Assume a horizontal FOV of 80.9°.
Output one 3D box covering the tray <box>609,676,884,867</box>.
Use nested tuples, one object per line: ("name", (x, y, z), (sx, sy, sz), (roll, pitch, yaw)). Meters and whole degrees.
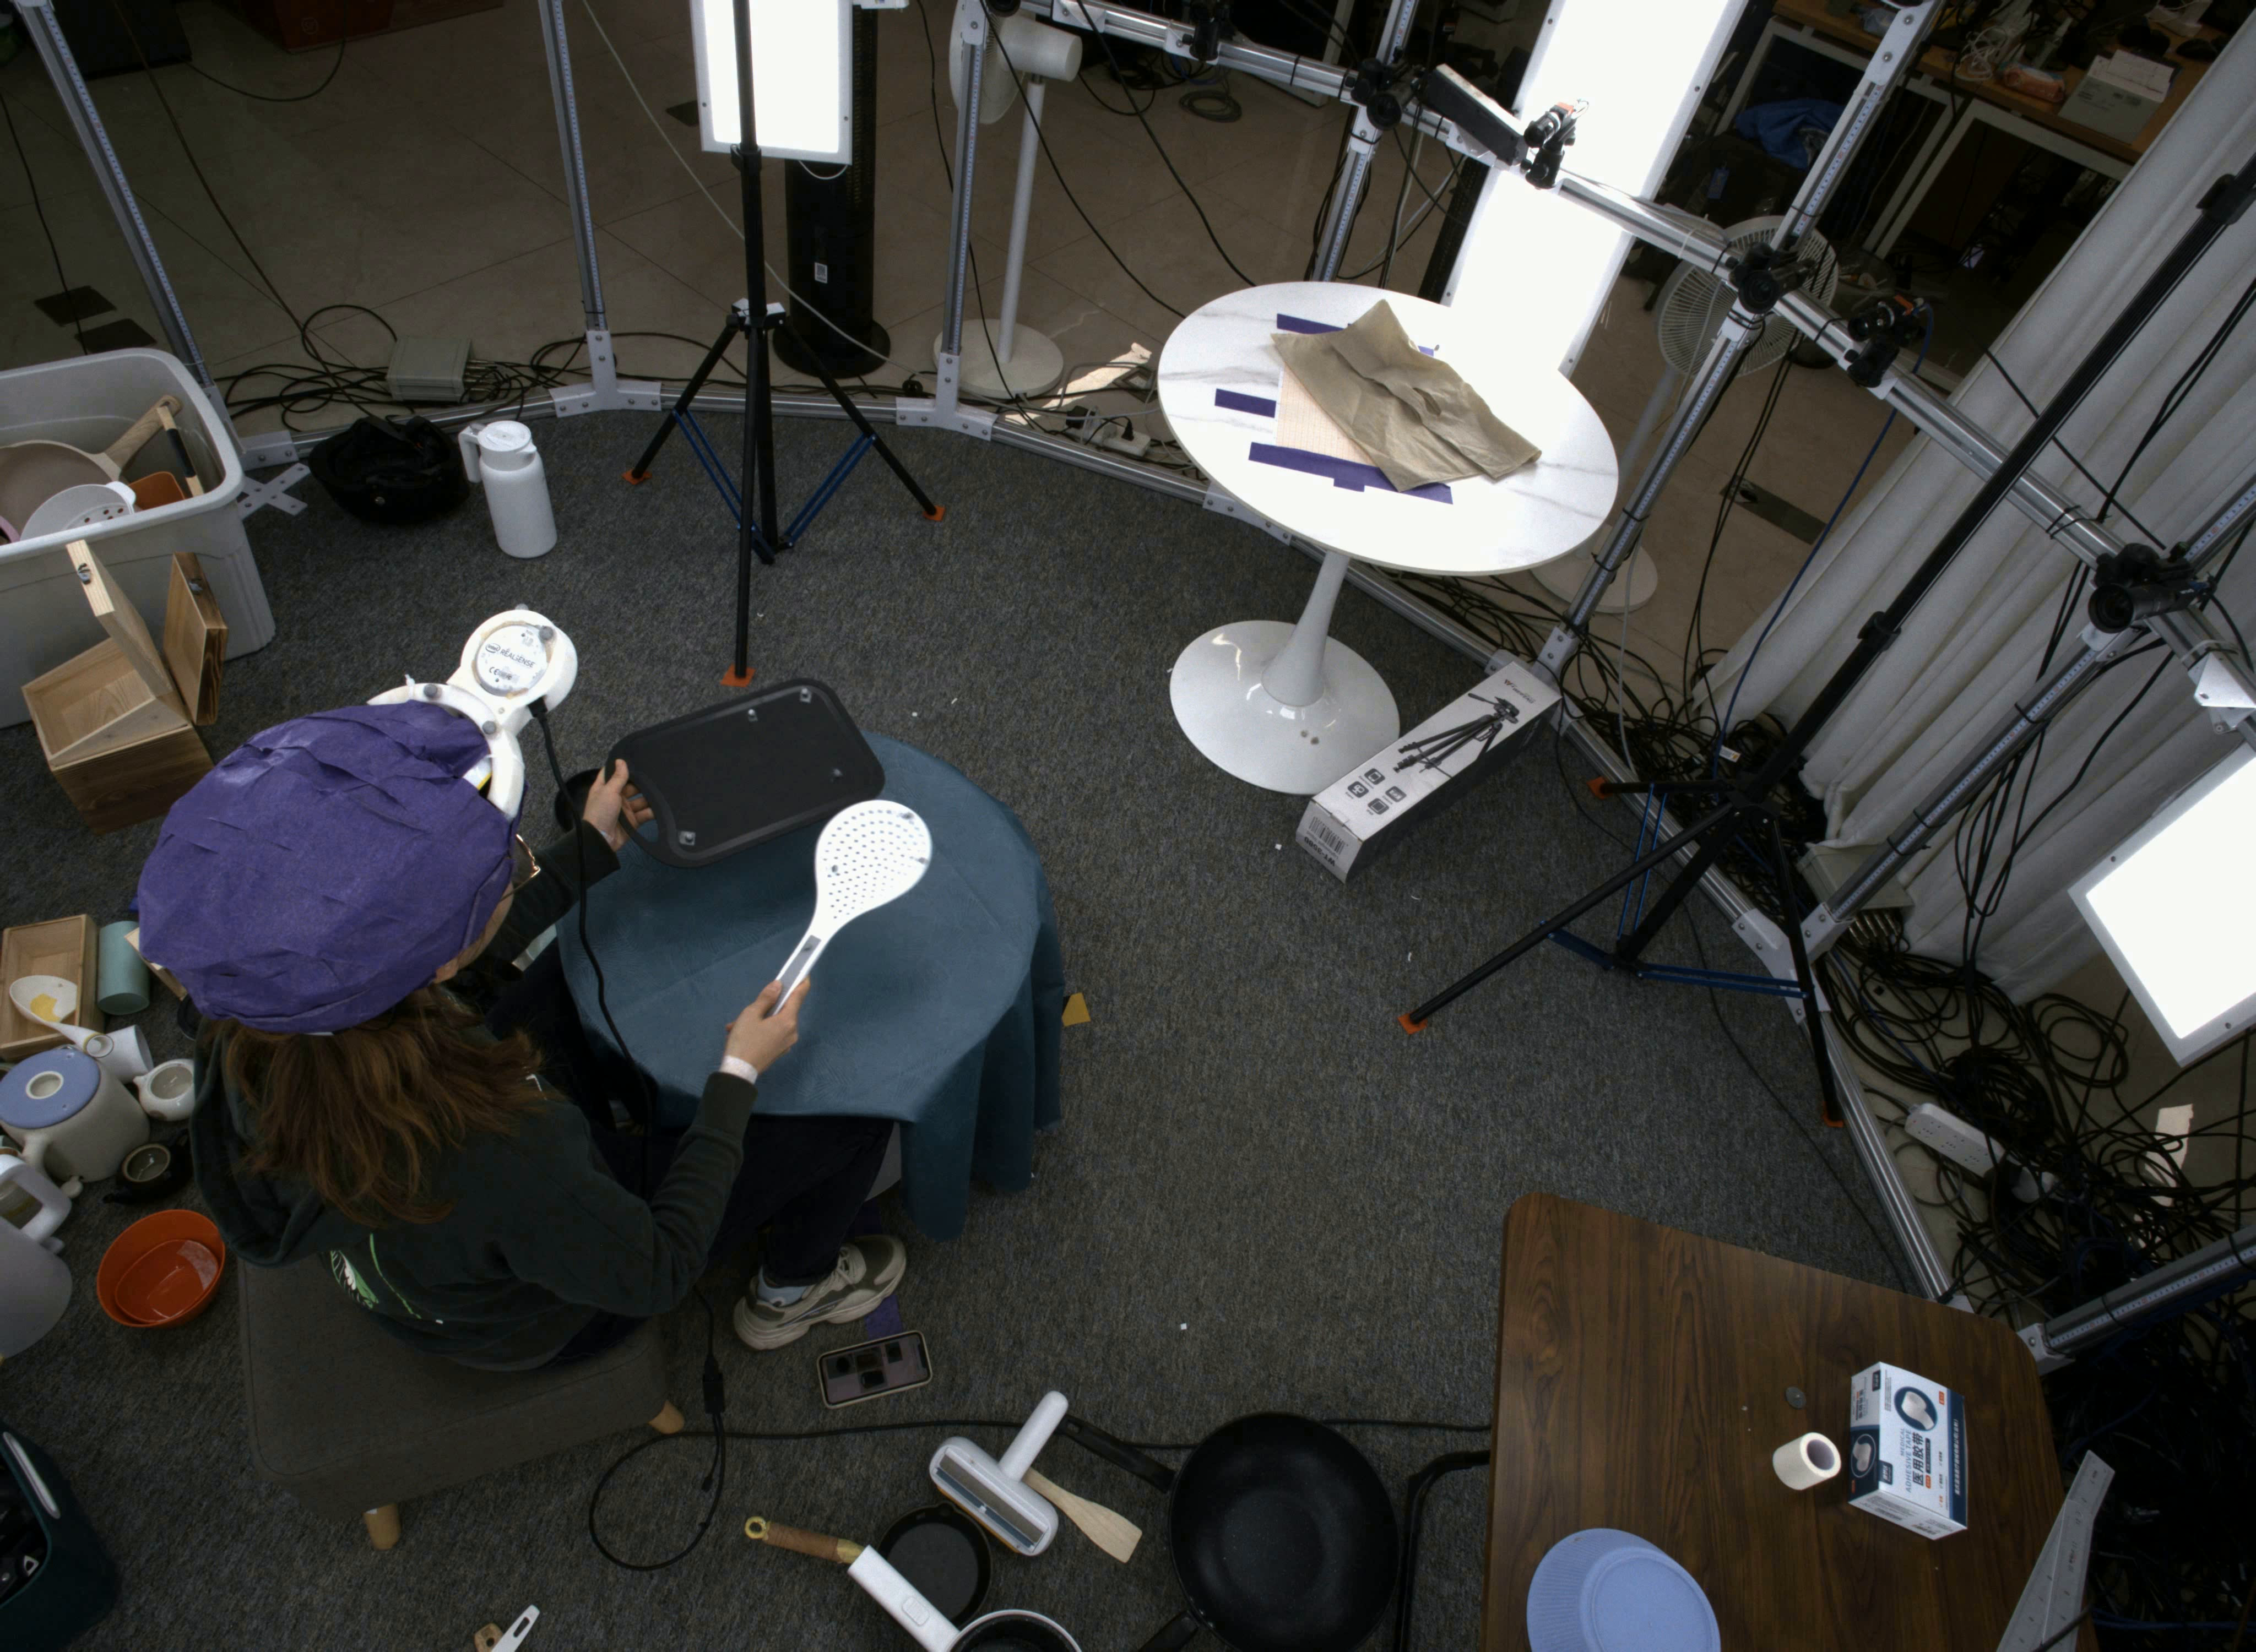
("tray", (-0.479, -0.072, 1.607), (0.327, 0.010, 0.207), (-24, 70, -31))

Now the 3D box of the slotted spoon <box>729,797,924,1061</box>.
("slotted spoon", (-0.356, 0.114, 1.505), (0.133, 0.047, 0.348), (23, 62, 14))
